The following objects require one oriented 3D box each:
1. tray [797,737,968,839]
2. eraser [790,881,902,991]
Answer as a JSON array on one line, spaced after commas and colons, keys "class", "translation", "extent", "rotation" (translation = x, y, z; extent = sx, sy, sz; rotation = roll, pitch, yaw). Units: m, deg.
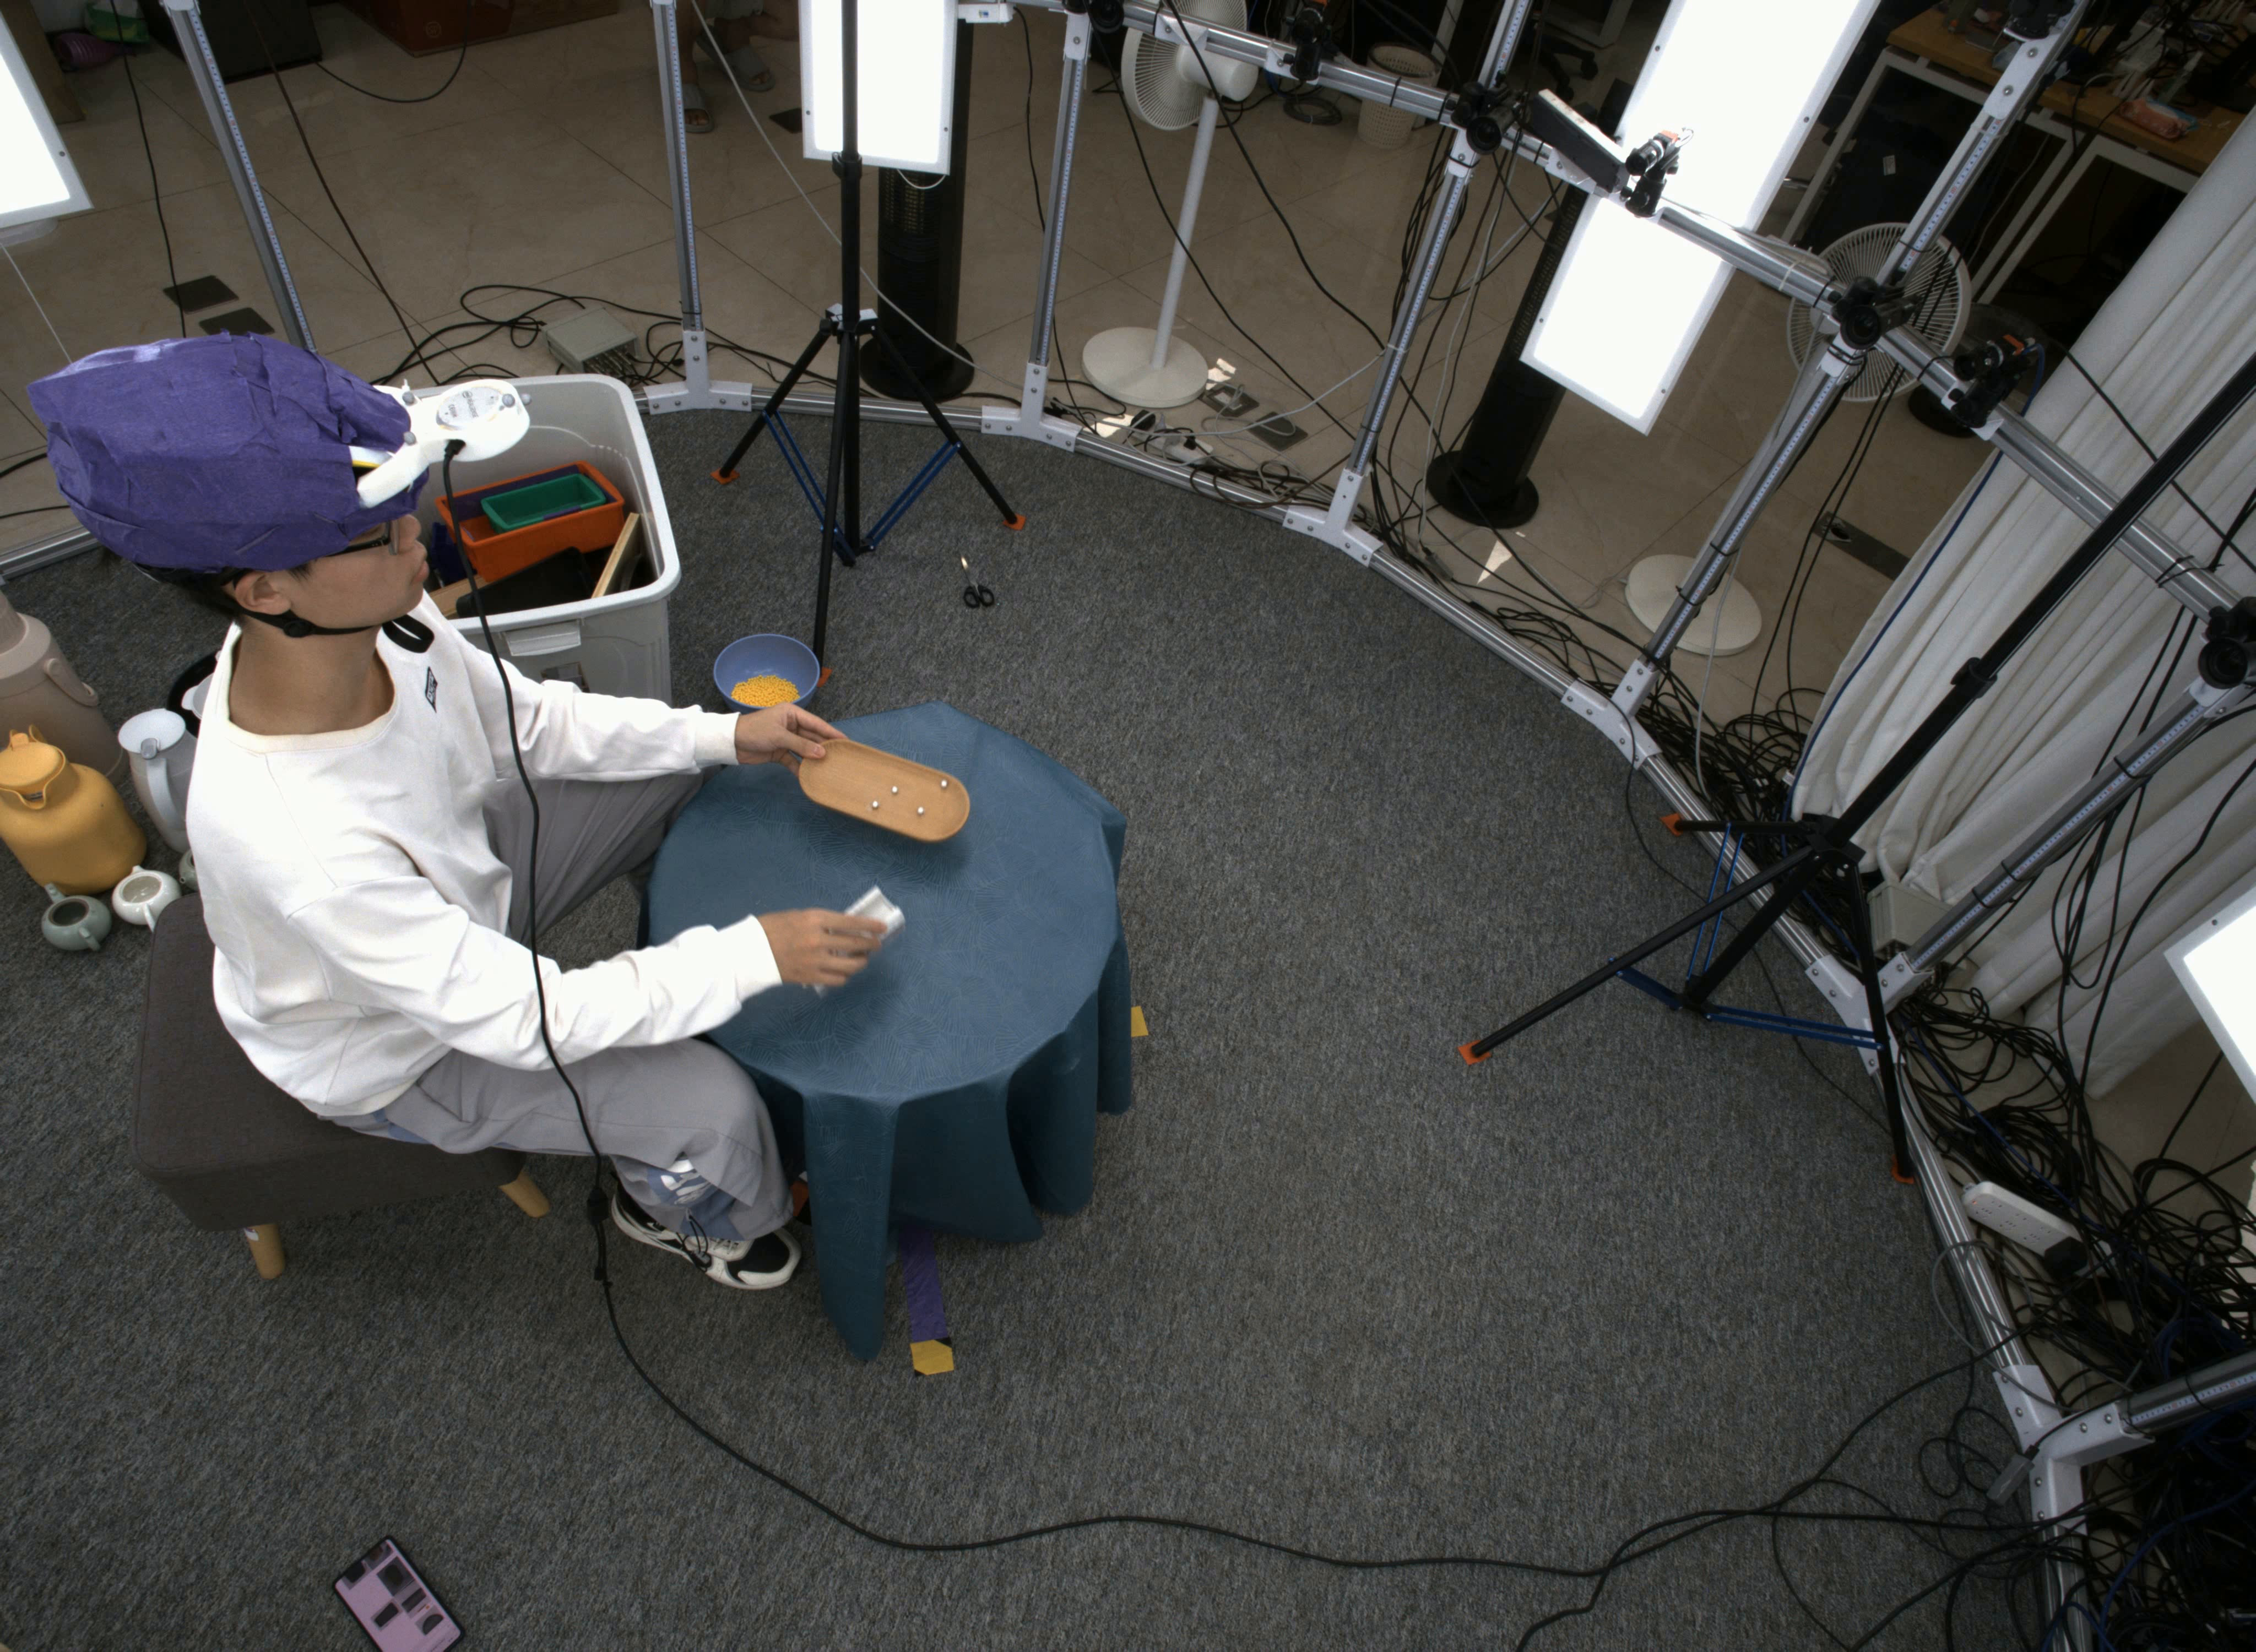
[{"class": "tray", "translation": [-0.322, -0.050, 1.707], "extent": [0.229, 0.020, 0.101], "rotation": [17, 64, 1]}, {"class": "eraser", "translation": [-0.335, 0.130, 1.554], "extent": [0.048, 0.048, 0.134], "rotation": [35, 64, 23]}]
